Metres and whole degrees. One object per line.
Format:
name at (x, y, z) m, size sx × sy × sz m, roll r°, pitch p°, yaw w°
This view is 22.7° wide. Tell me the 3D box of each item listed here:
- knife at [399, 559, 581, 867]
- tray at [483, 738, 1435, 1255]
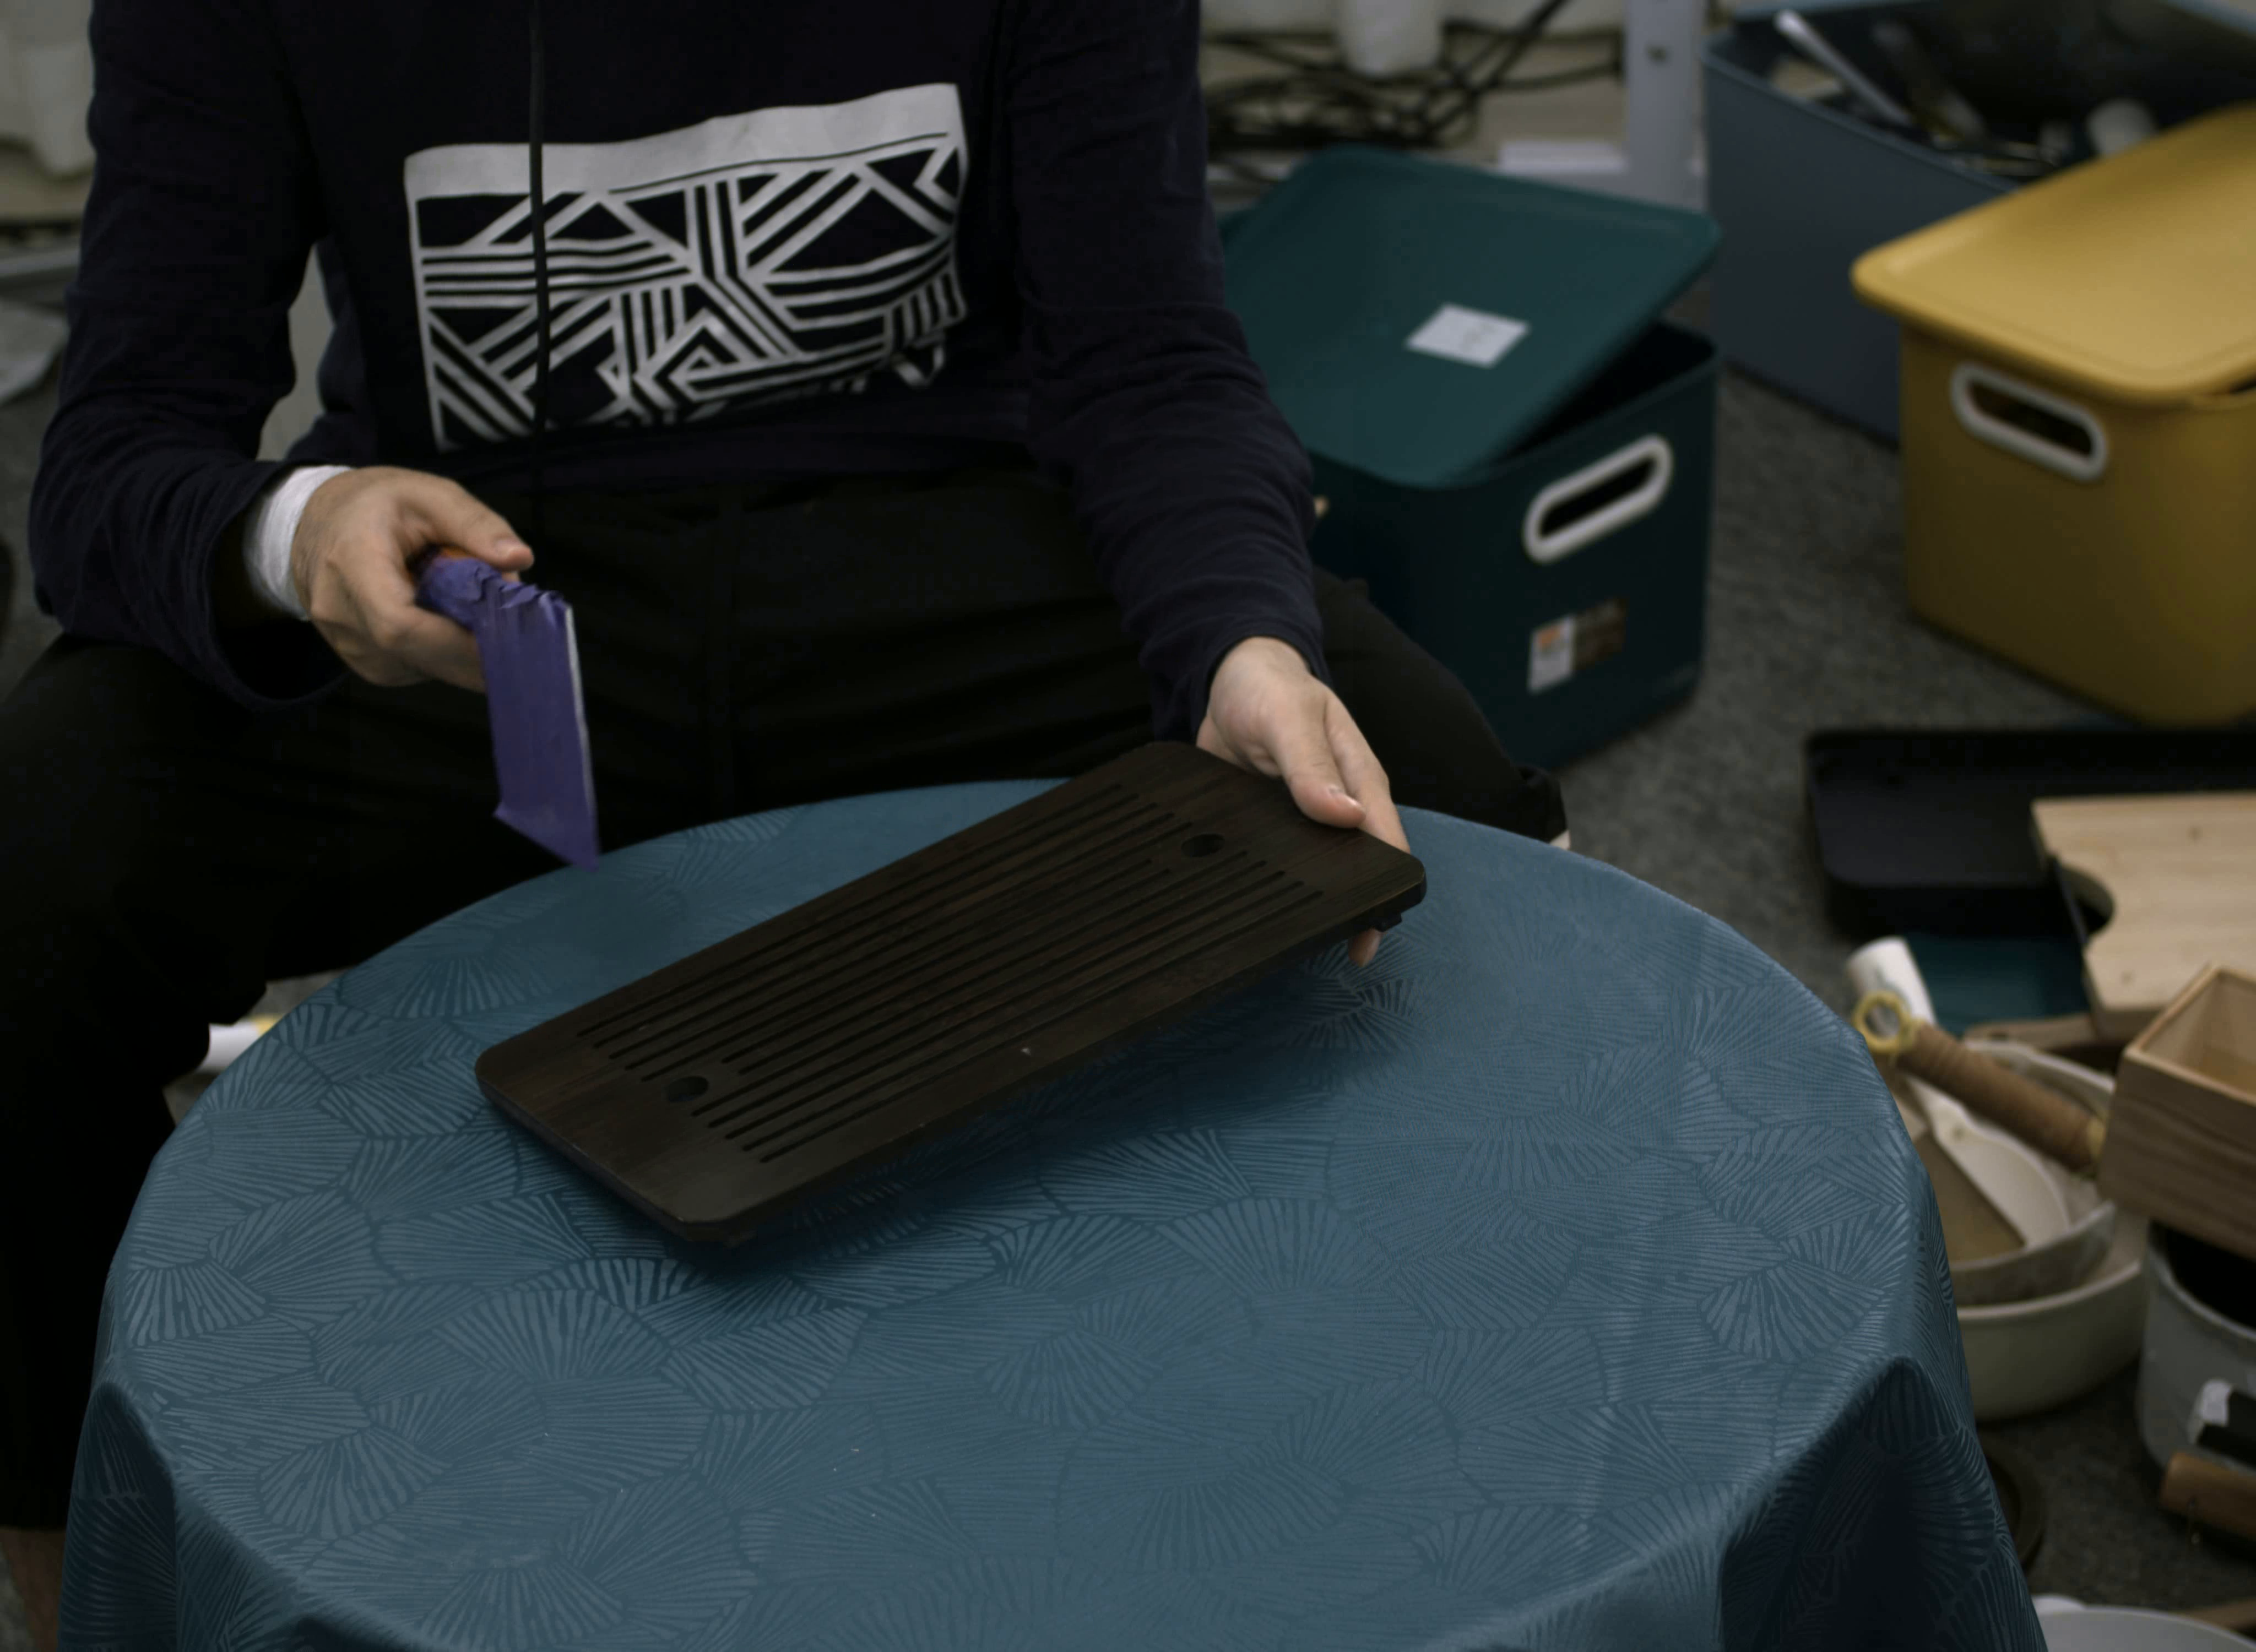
knife at (-0.219, -0.041, 1.932) m, size 0.032 × 0.104 × 0.315 m, roll -4°, pitch 5°, yaw -12°
tray at (-0.057, 0.057, 1.935) m, size 0.308 × 0.018 × 0.170 m, roll -25°, pitch 31°, yaw -27°
